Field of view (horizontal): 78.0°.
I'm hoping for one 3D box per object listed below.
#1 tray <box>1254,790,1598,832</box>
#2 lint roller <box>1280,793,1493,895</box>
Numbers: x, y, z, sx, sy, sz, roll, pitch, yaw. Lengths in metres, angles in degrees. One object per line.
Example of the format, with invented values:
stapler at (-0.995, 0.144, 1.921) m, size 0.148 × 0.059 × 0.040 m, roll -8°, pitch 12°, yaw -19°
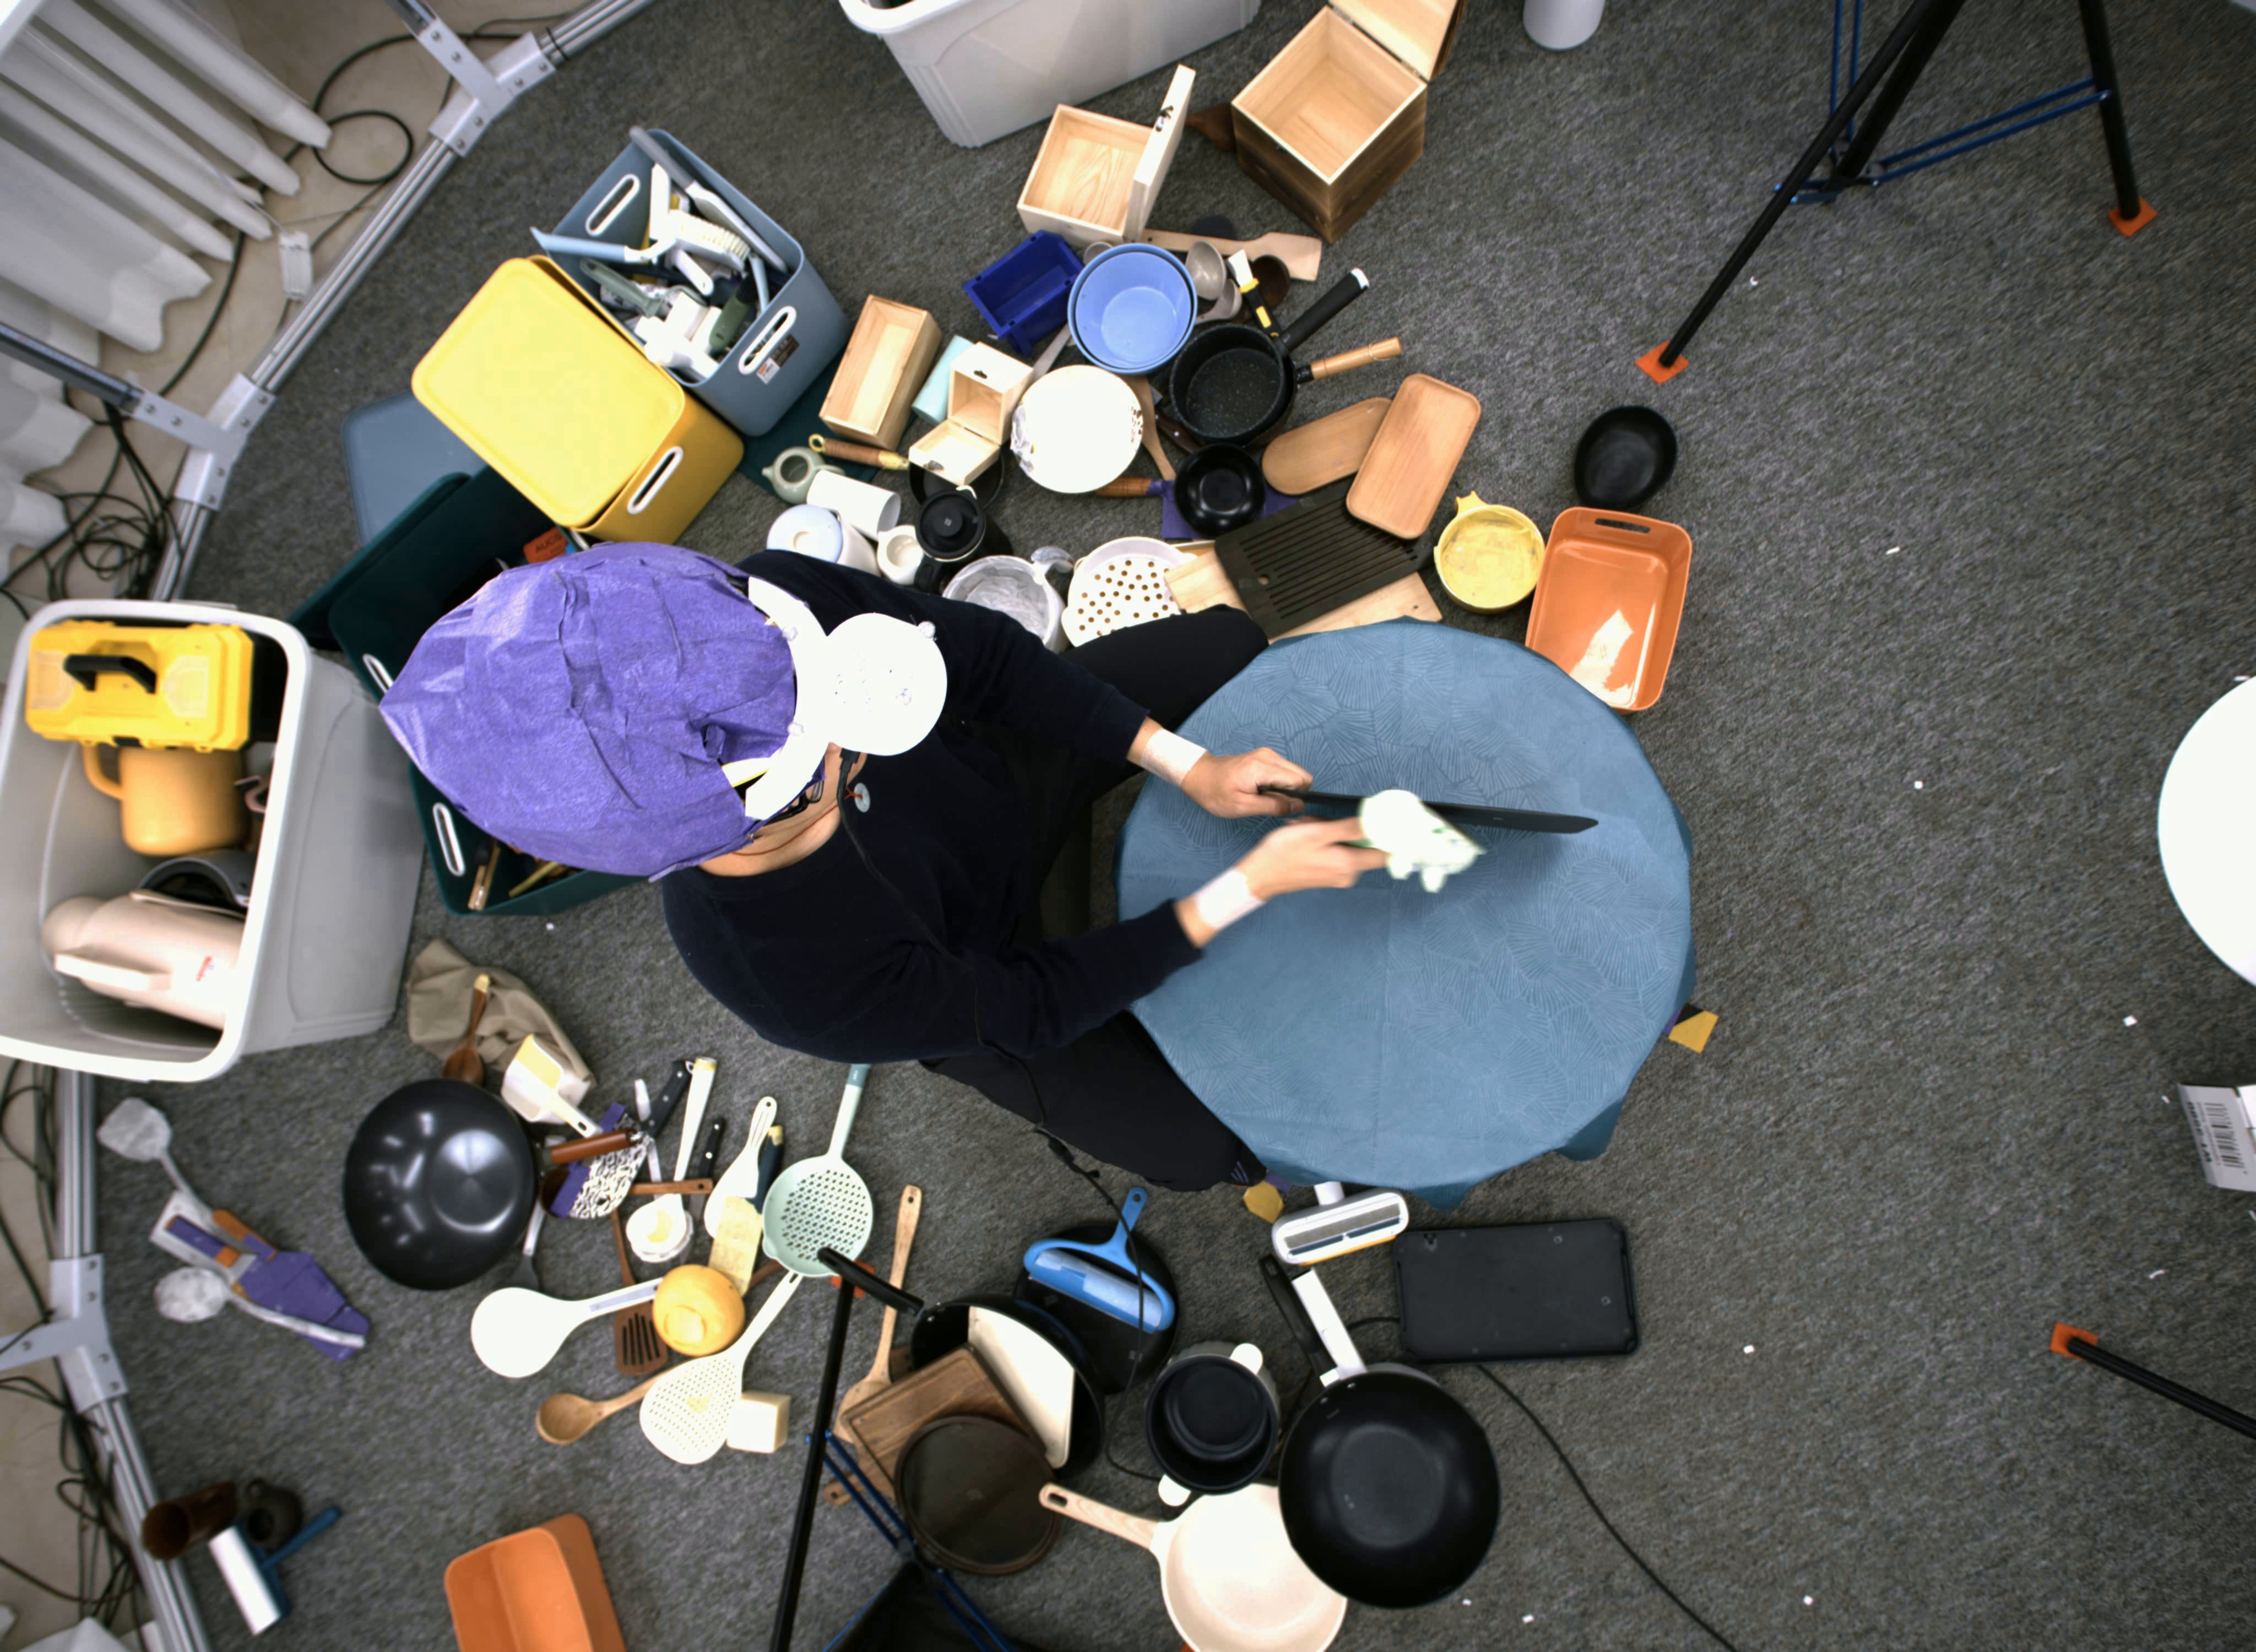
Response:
tray at (0.286, -0.018, 1.354) m, size 0.326 × 0.211 × 0.010 m, roll 5°, pitch 87°, yaw 11°
lint roller at (0.234, 0.028, 1.295) m, size 0.185 × 0.198 × 0.081 m, roll -15°, pitch 75°, yaw 25°
